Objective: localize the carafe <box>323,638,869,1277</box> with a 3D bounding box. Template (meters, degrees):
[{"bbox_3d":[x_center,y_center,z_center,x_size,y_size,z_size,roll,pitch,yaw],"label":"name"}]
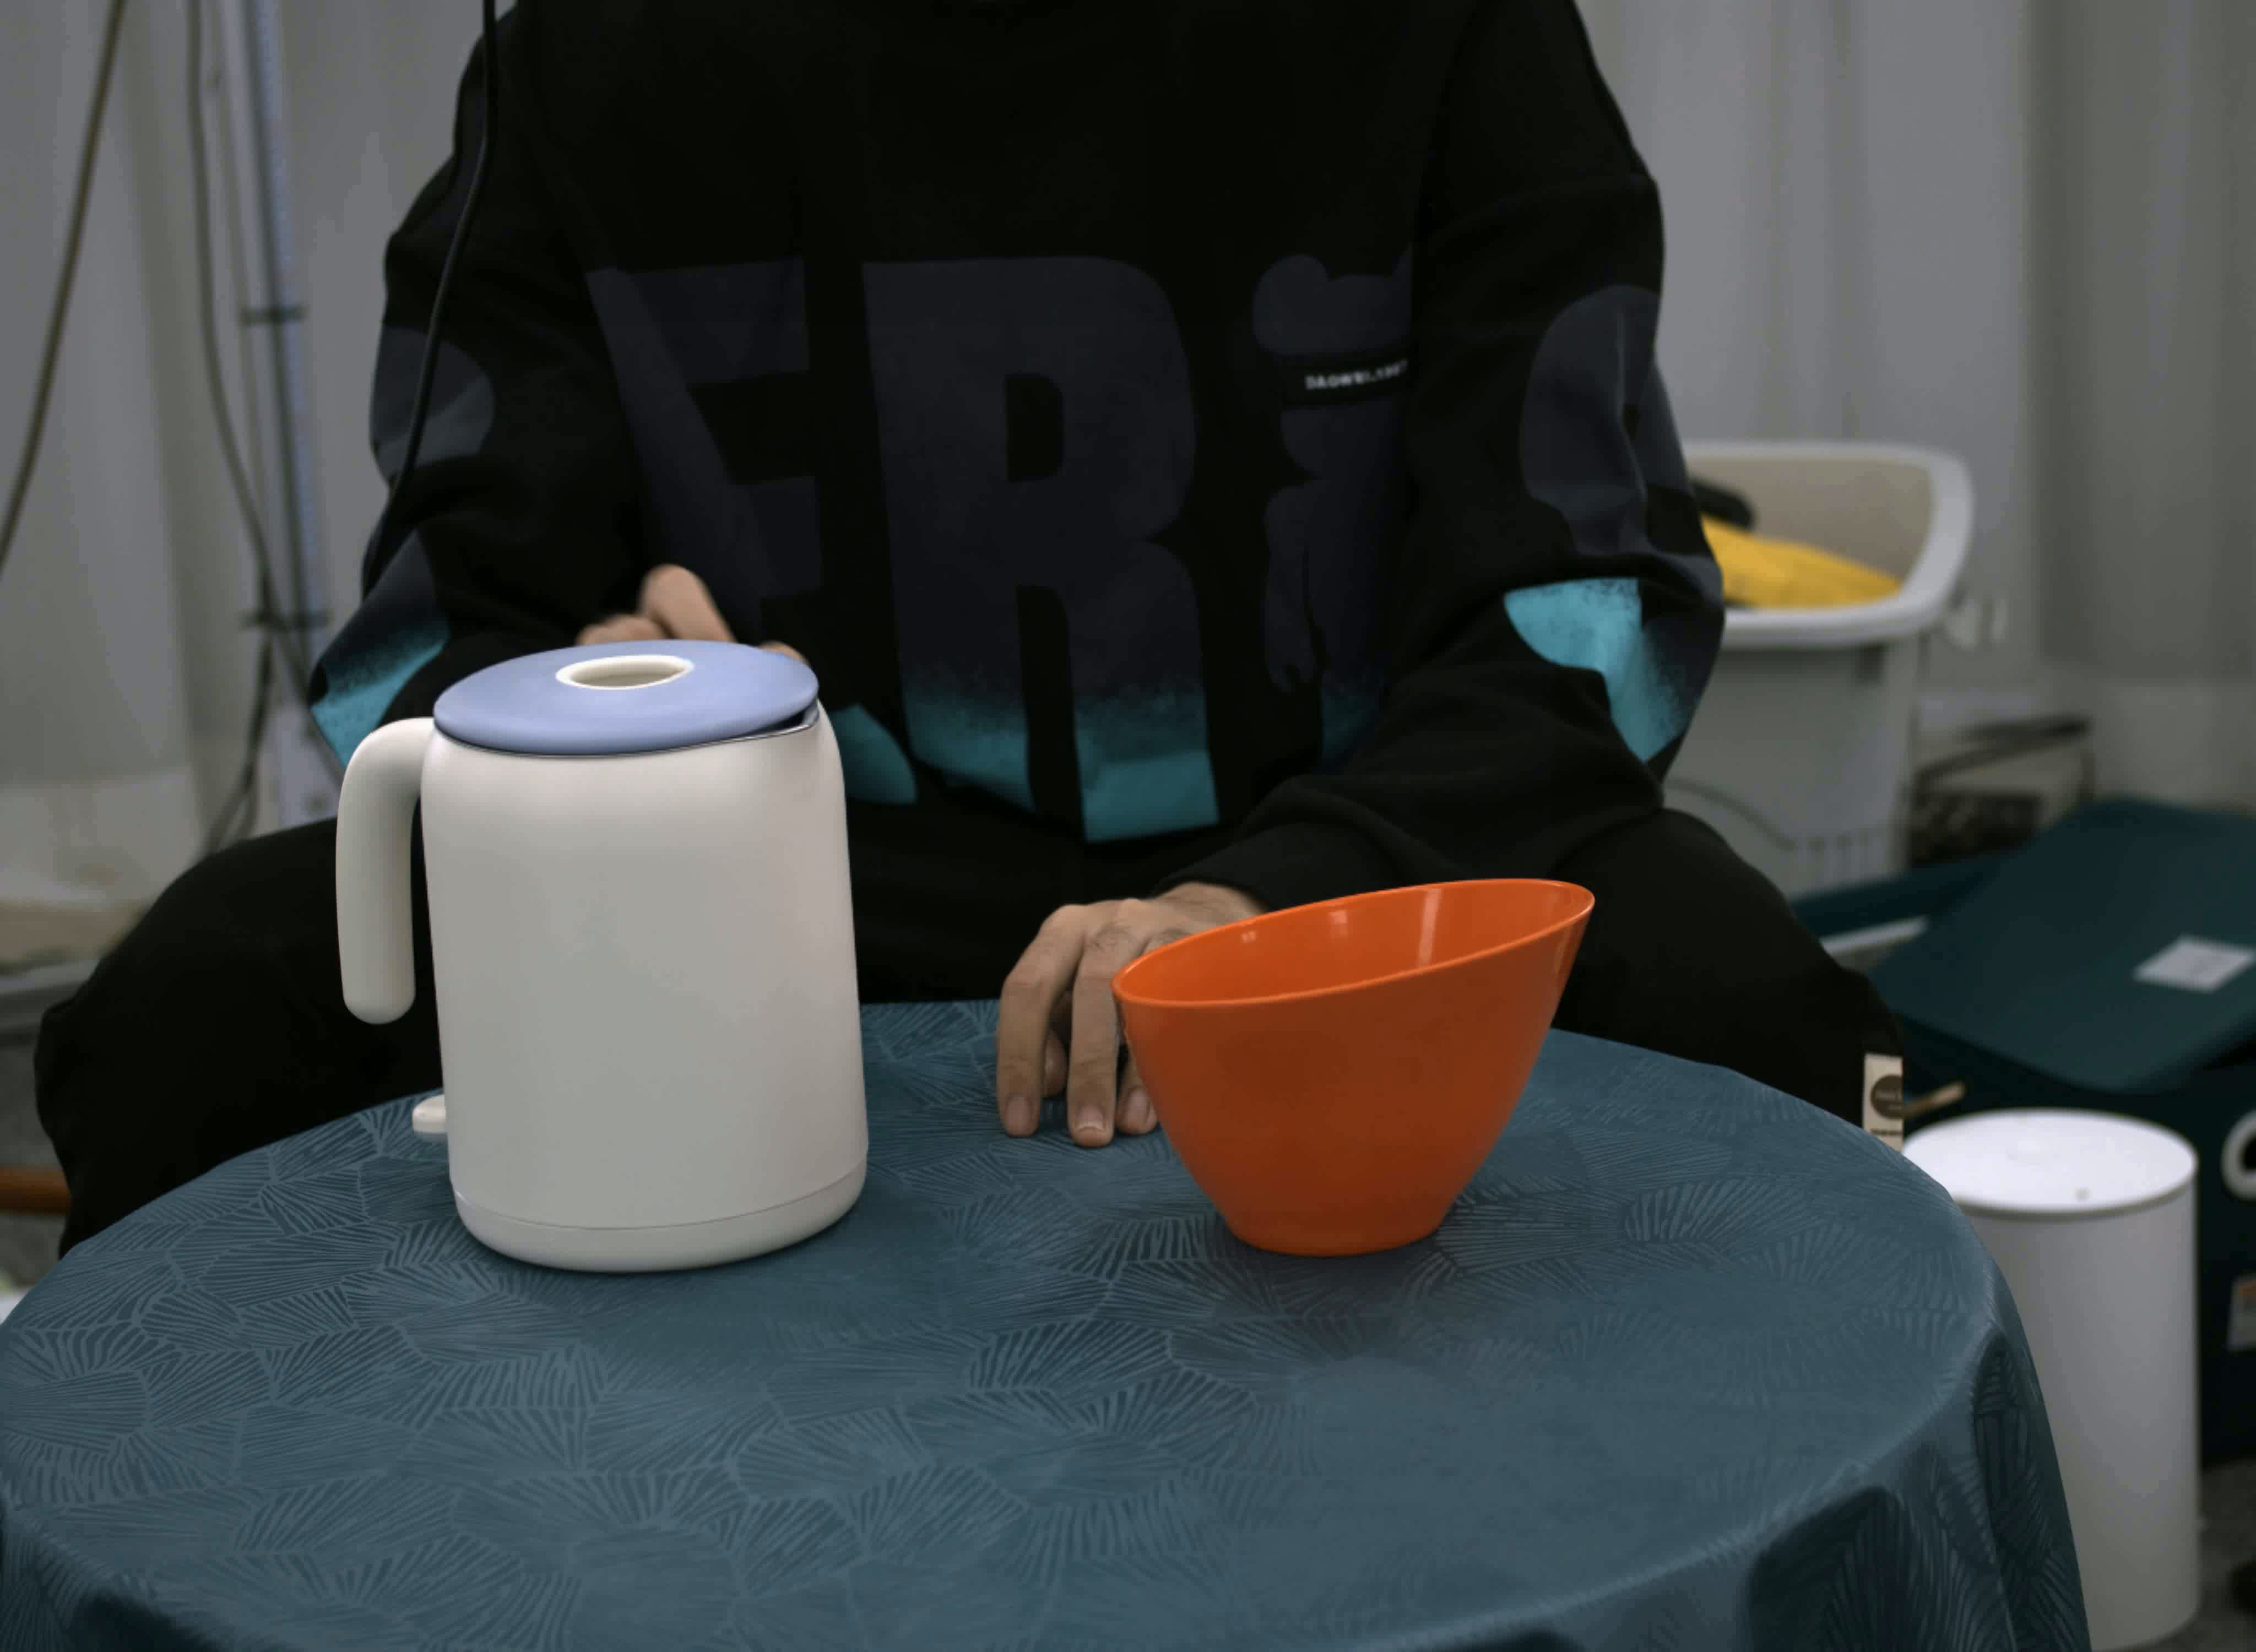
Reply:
[{"bbox_3d":[-0.171,0.038,1.708,0.191,0.182,0.132,2,14,30],"label":"carafe"}]

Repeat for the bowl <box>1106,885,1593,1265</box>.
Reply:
[{"bbox_3d":[0.068,0.075,1.655,0.147,0.104,0.149,-3,15,0],"label":"bowl"}]
